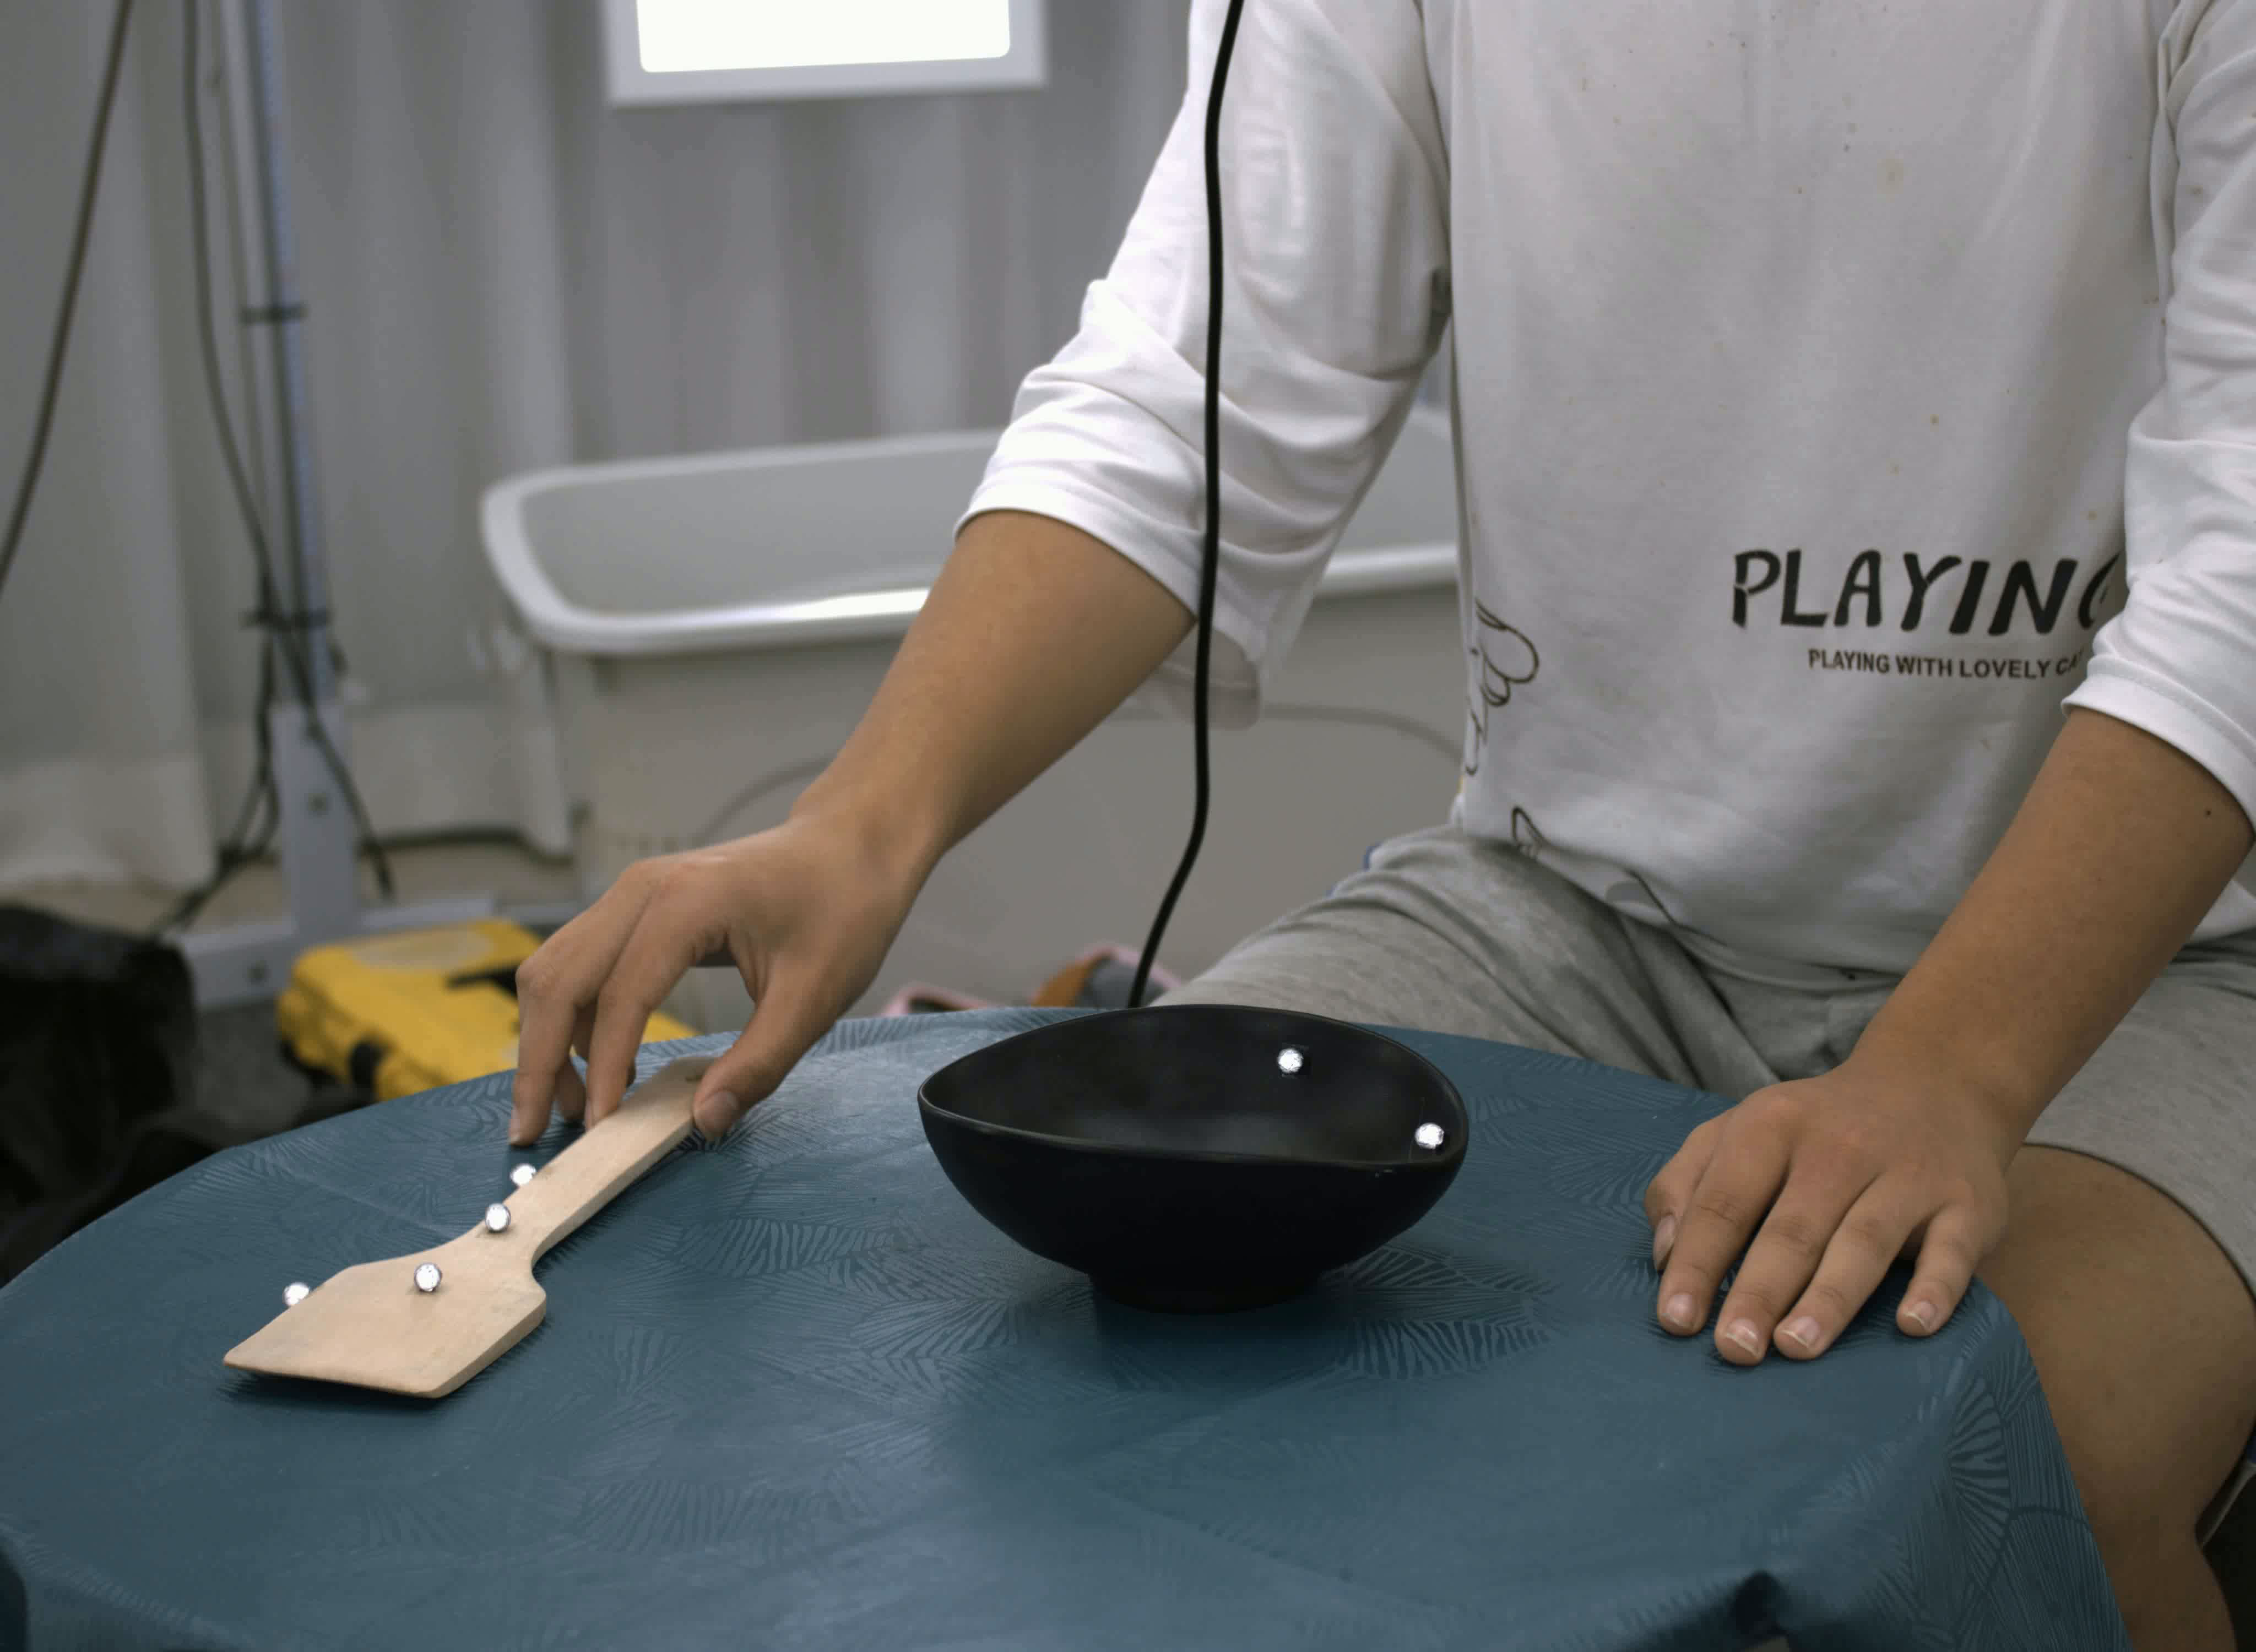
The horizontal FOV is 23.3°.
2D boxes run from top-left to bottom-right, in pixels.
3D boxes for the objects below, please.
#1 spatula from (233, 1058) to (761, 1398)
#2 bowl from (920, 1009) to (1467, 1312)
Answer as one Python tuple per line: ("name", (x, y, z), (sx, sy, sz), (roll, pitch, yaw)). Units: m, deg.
("spatula", (-0.181, 0.121, 1.699), (0.072, 0.010, 0.294), (5, 18, 19))
("bowl", (0.020, 0.104, 1.632), (0.170, 0.066, 0.137), (5, 16, 21))
